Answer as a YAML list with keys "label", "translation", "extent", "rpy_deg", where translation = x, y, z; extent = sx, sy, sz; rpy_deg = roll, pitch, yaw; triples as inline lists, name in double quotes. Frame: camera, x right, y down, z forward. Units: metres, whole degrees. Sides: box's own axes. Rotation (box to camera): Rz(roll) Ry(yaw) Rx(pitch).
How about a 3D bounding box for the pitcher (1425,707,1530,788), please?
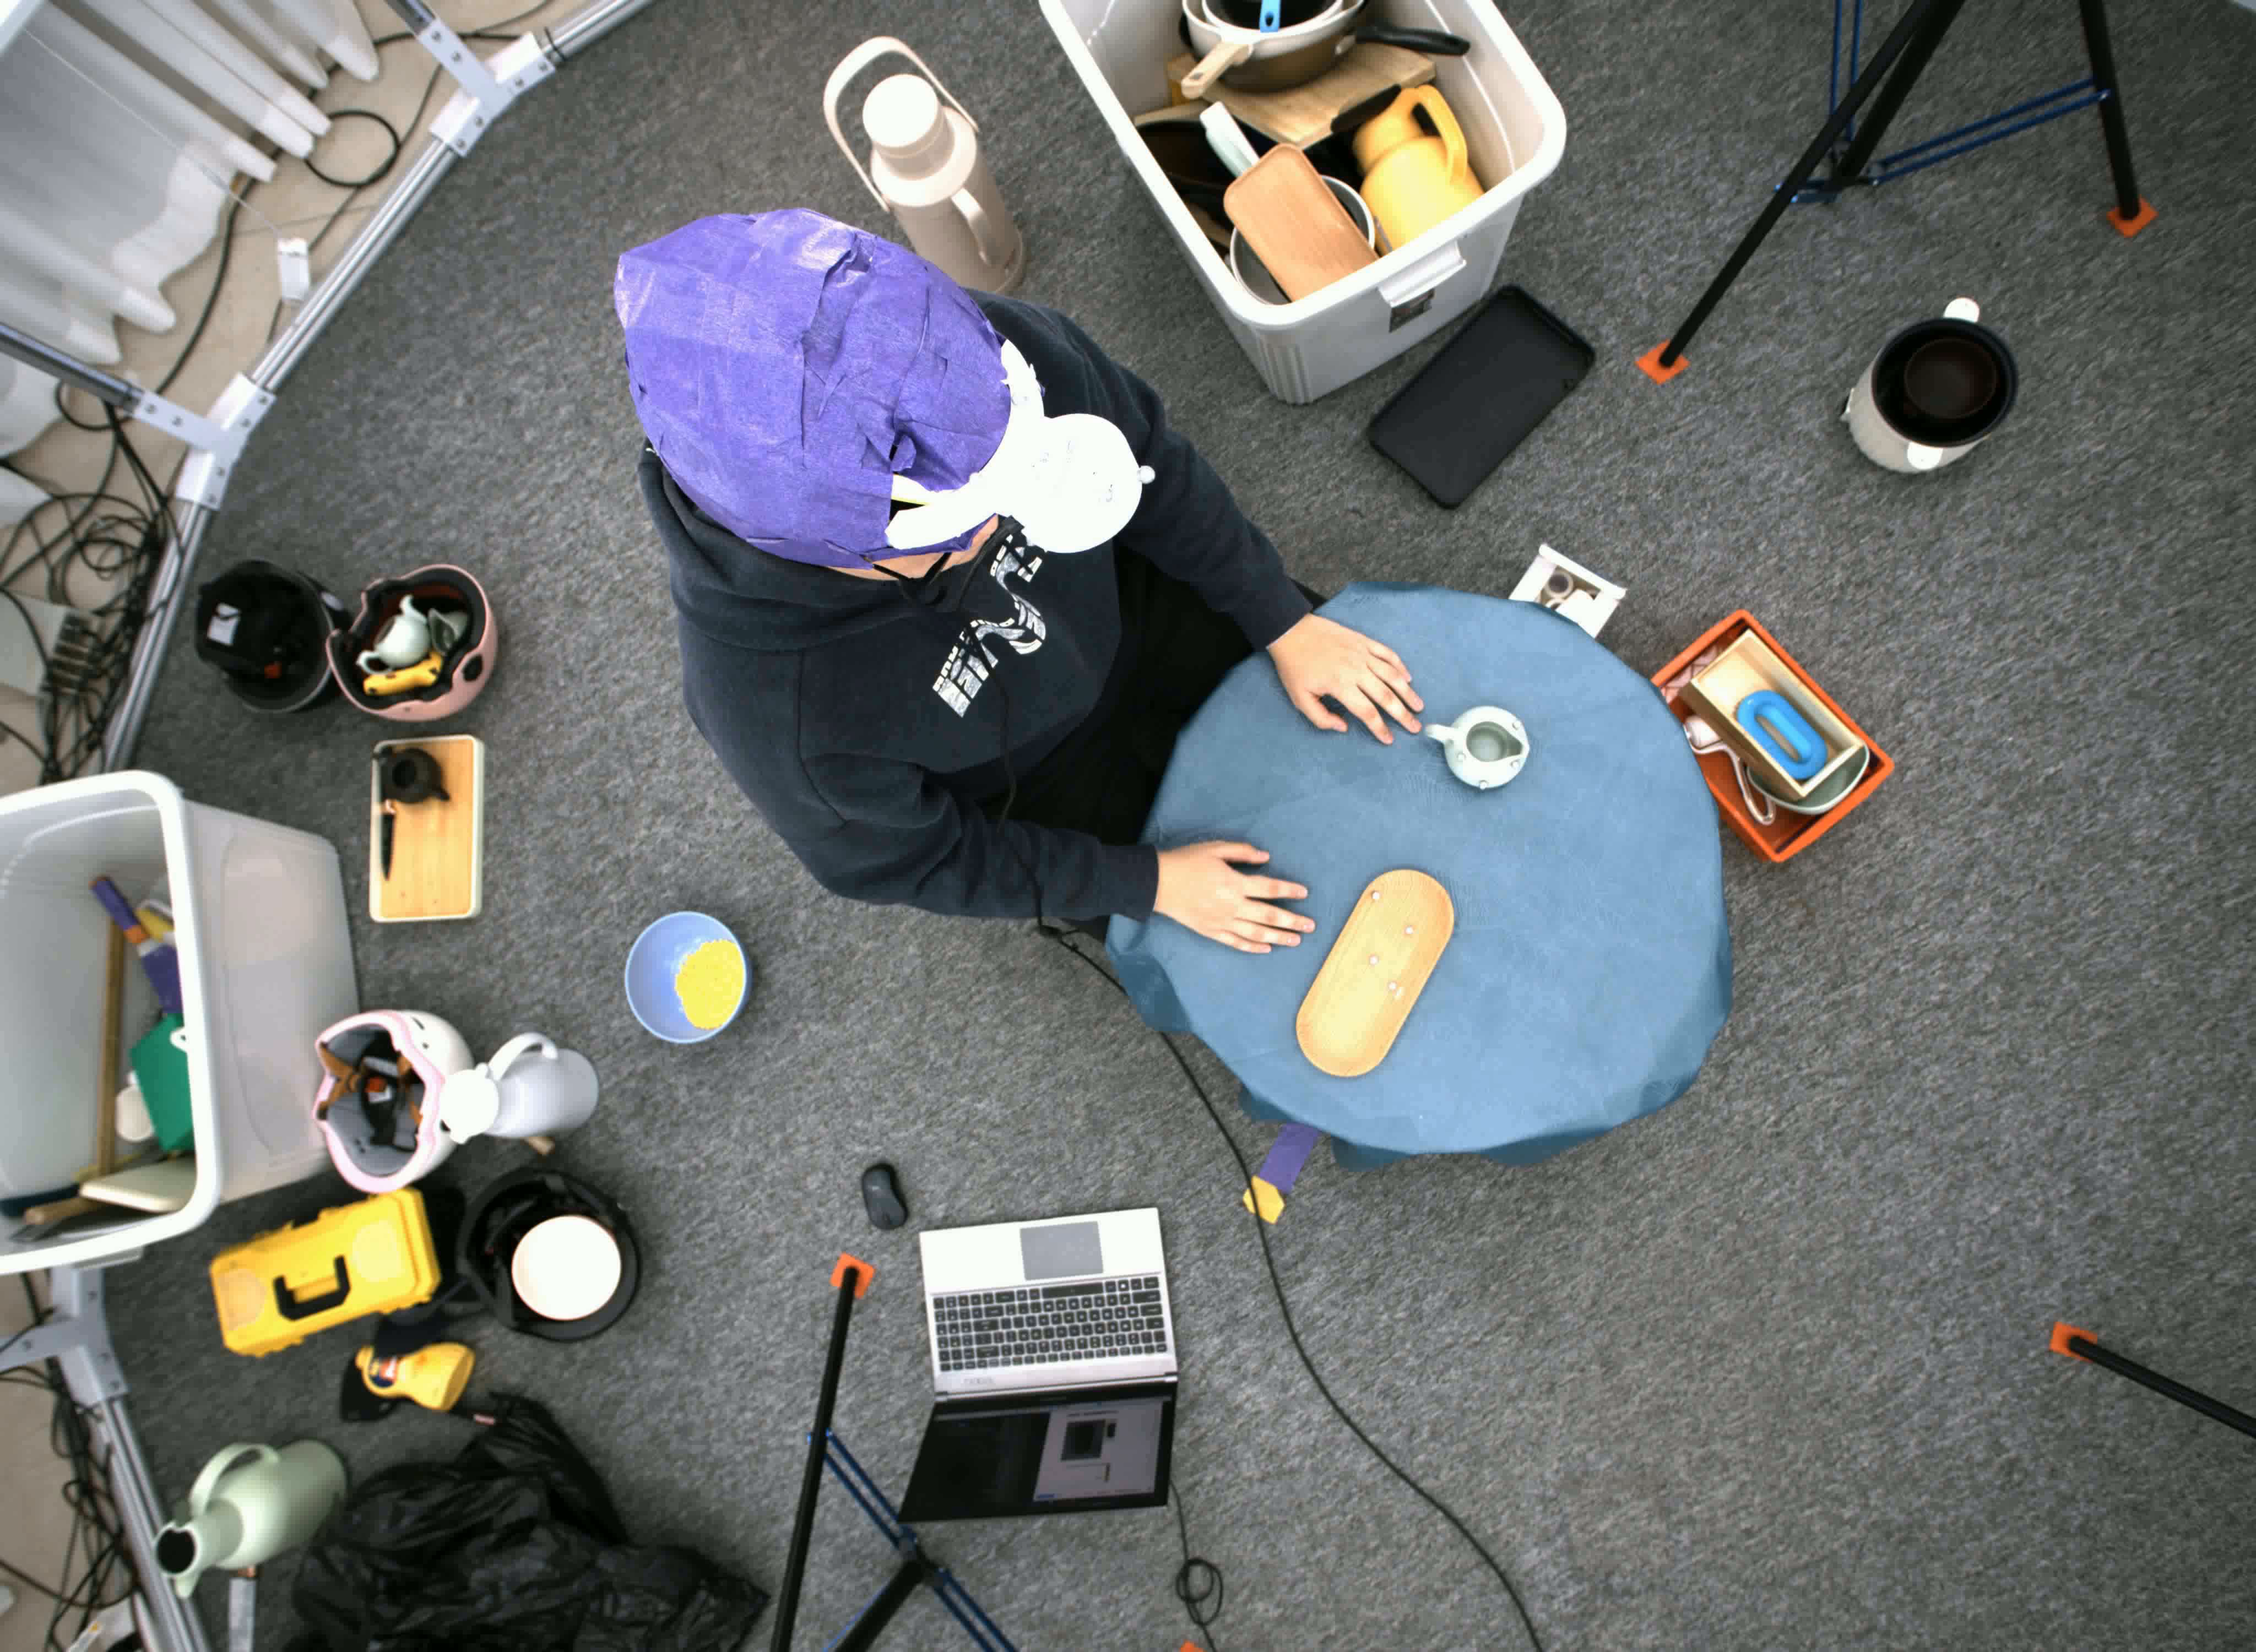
- label: "pitcher"
  translation: [0.363, -0.087, 1.425]
  extent: [0.108, 0.060, 0.086]
  rpy_deg: [12, 87, 14]

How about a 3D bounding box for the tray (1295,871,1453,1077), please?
- label: "tray"
  translation: [0.258, 0.154, 1.450]
  extent: [0.101, 0.020, 0.232]
  rpy_deg: [29, 94, 12]
